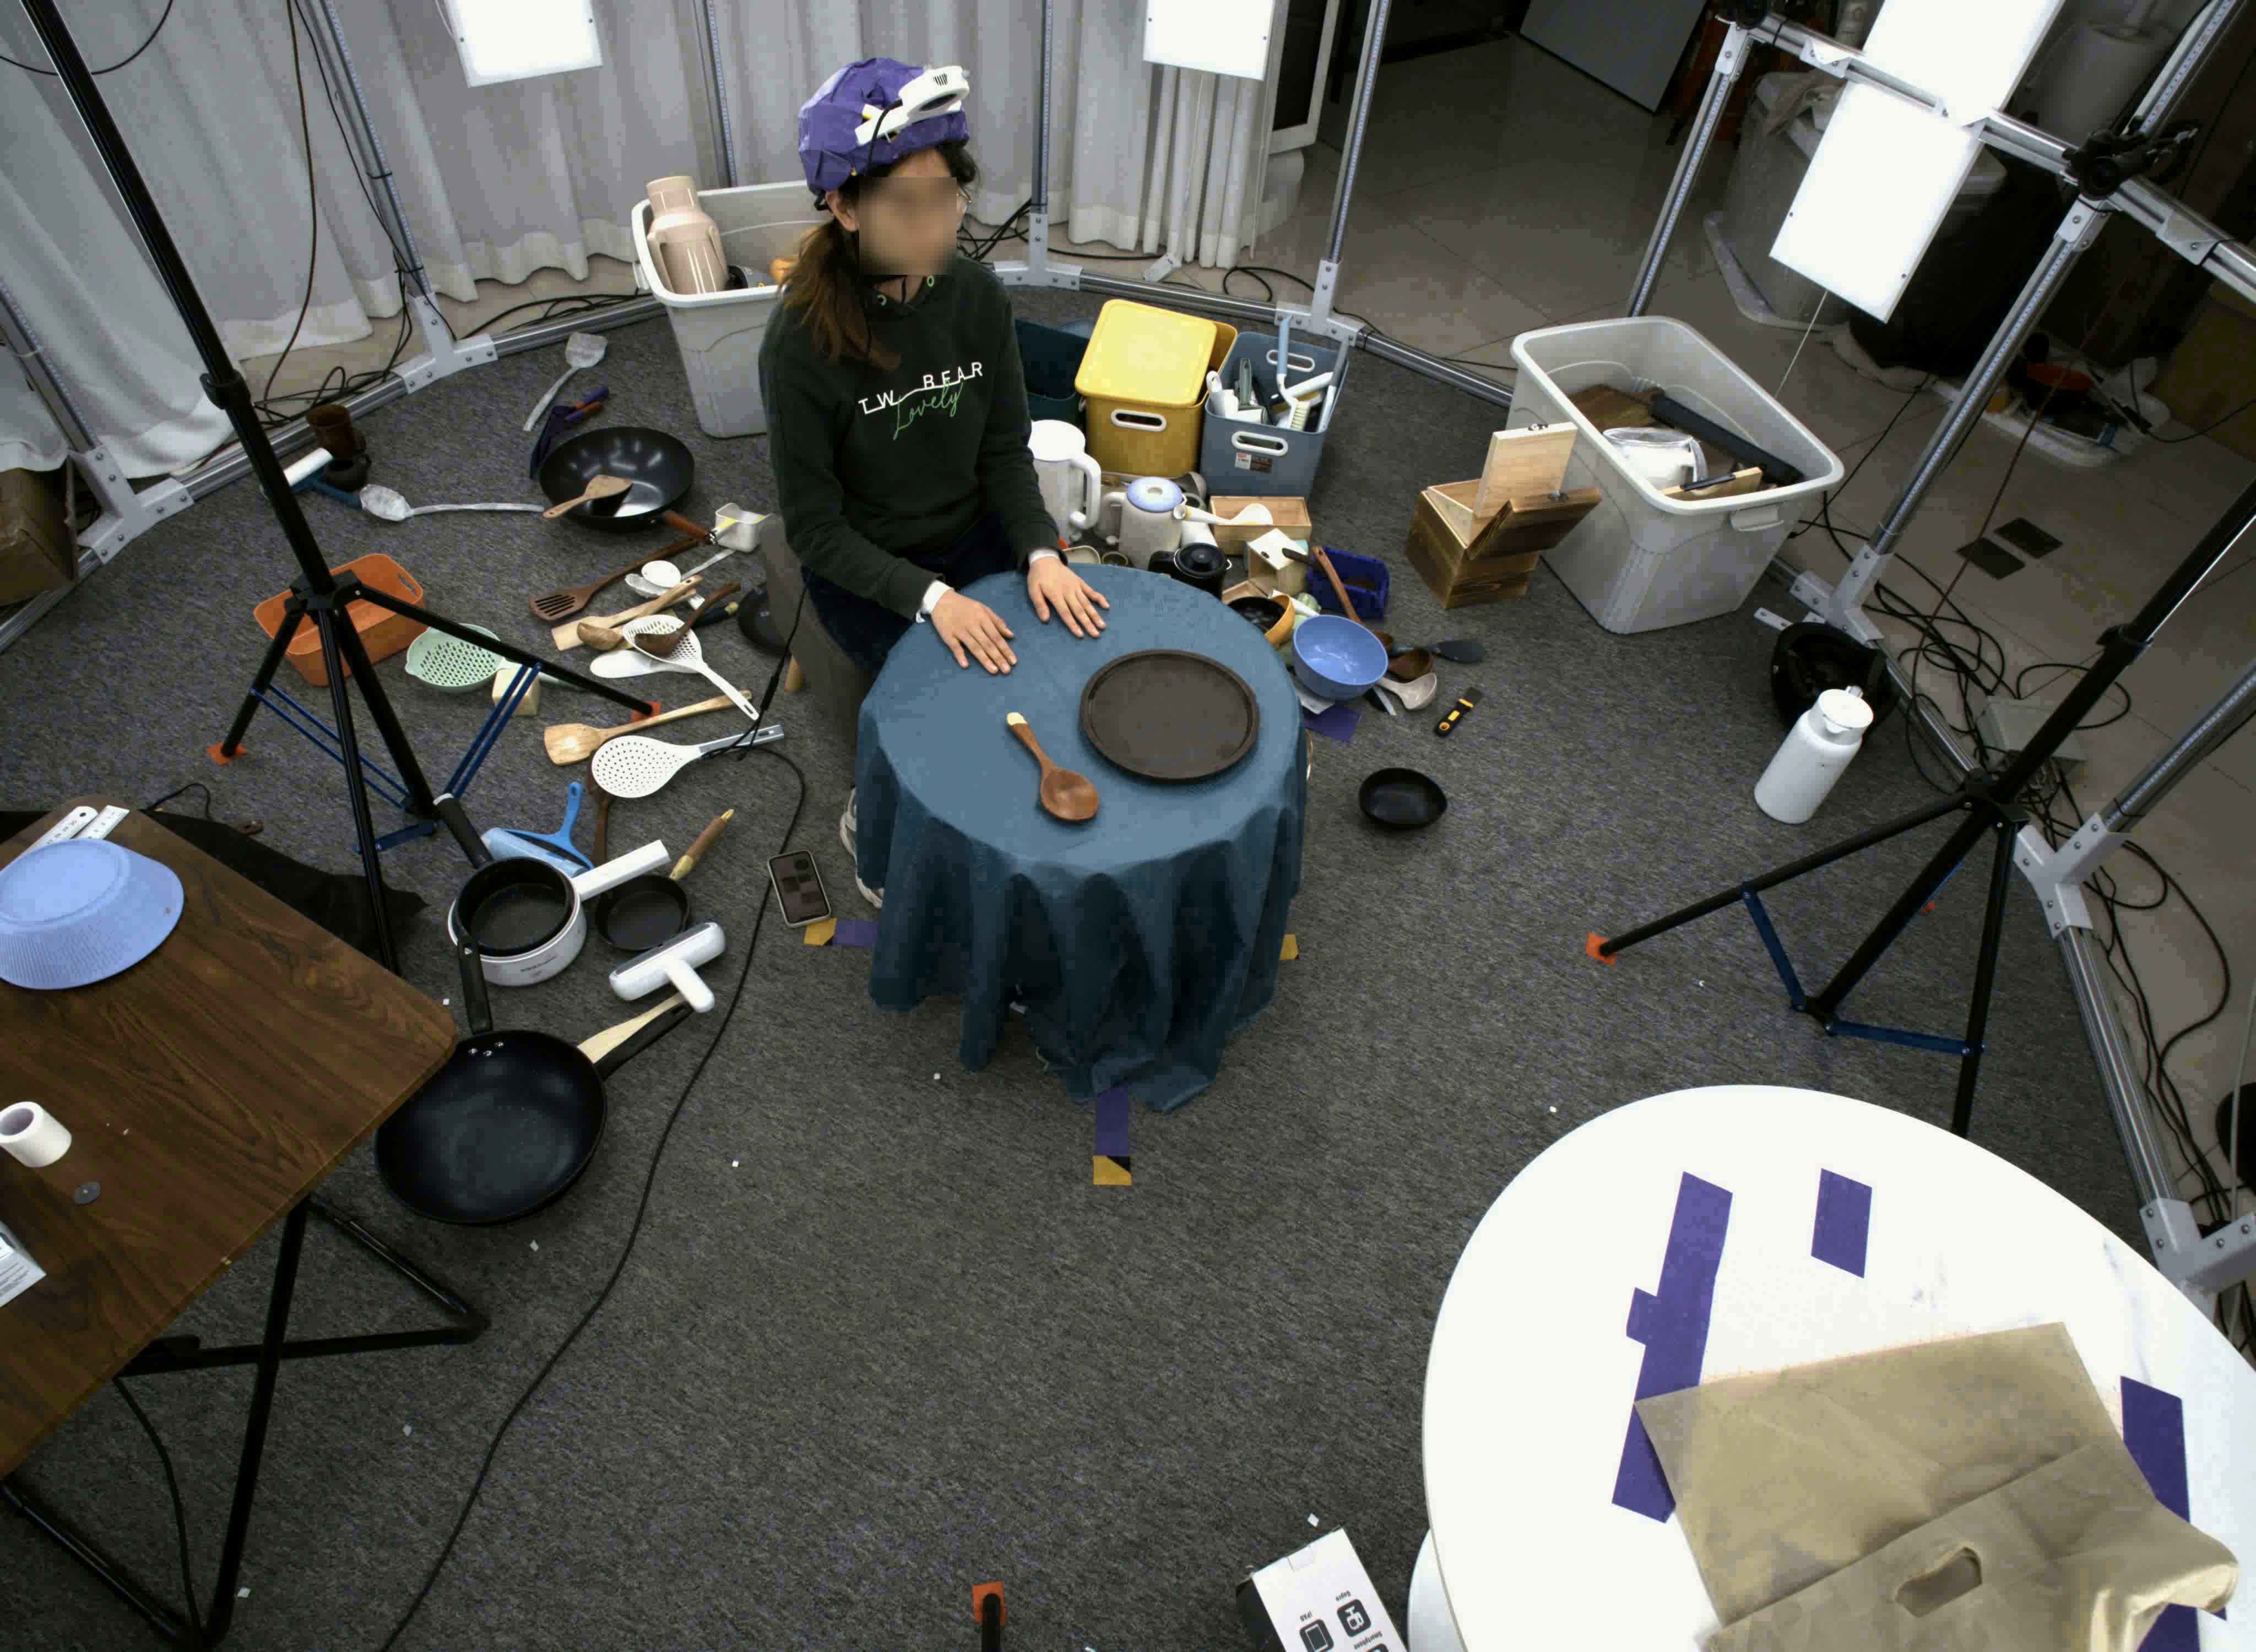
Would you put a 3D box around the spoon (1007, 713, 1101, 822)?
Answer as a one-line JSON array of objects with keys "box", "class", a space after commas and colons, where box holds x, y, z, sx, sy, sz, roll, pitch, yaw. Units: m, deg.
[{"box": [-0.108, -0.081, 1.735, 0.075, 0.017, 0.220, -21, 54, -21], "class": "spoon"}]

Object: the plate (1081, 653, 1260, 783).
[{"box": [0.059, -0.154, 1.808, 0.254, 0.028, 0.261, 2, 49, -3], "class": "plate"}]
